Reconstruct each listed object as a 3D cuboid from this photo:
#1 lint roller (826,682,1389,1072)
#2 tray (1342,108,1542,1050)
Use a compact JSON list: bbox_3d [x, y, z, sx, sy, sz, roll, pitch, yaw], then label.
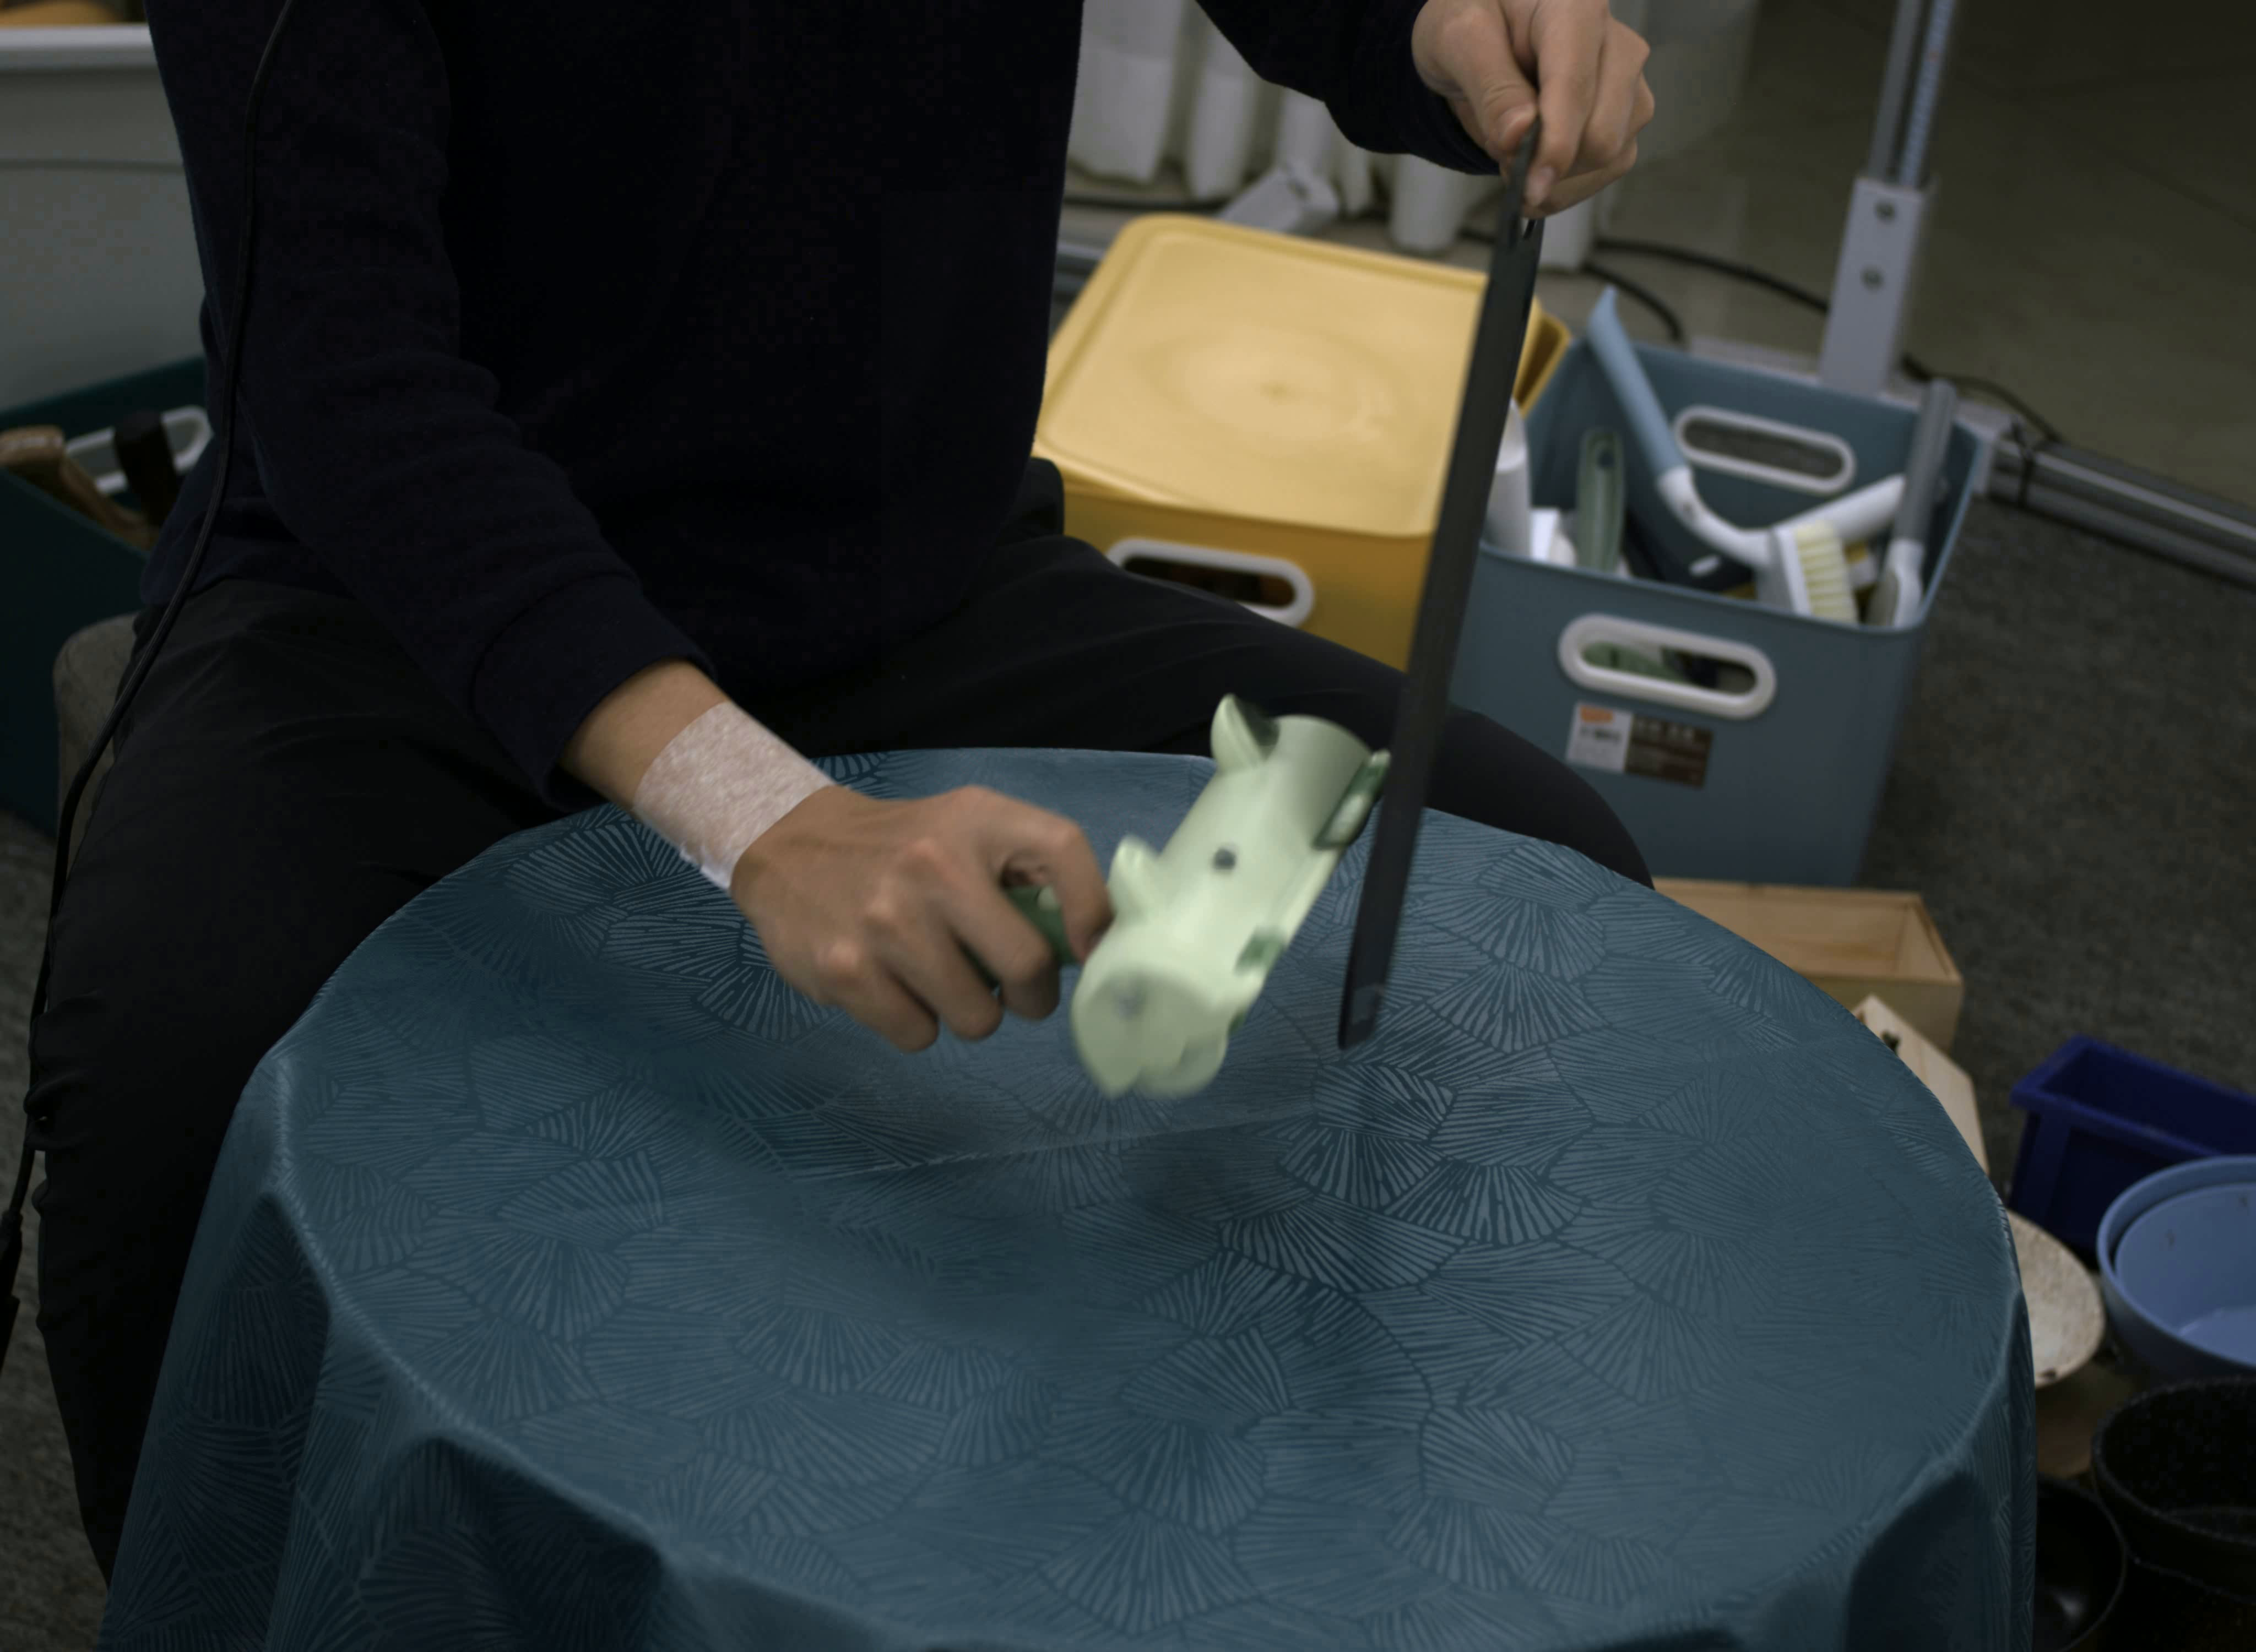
[{"bbox_3d":[-0.020,0.013,1.764,0.183,0.082,0.199,-2,22,19],"label":"lint roller"},{"bbox_3d":[0.110,-0.084,1.826,0.010,0.326,0.210,11,-1,7],"label":"tray"}]
